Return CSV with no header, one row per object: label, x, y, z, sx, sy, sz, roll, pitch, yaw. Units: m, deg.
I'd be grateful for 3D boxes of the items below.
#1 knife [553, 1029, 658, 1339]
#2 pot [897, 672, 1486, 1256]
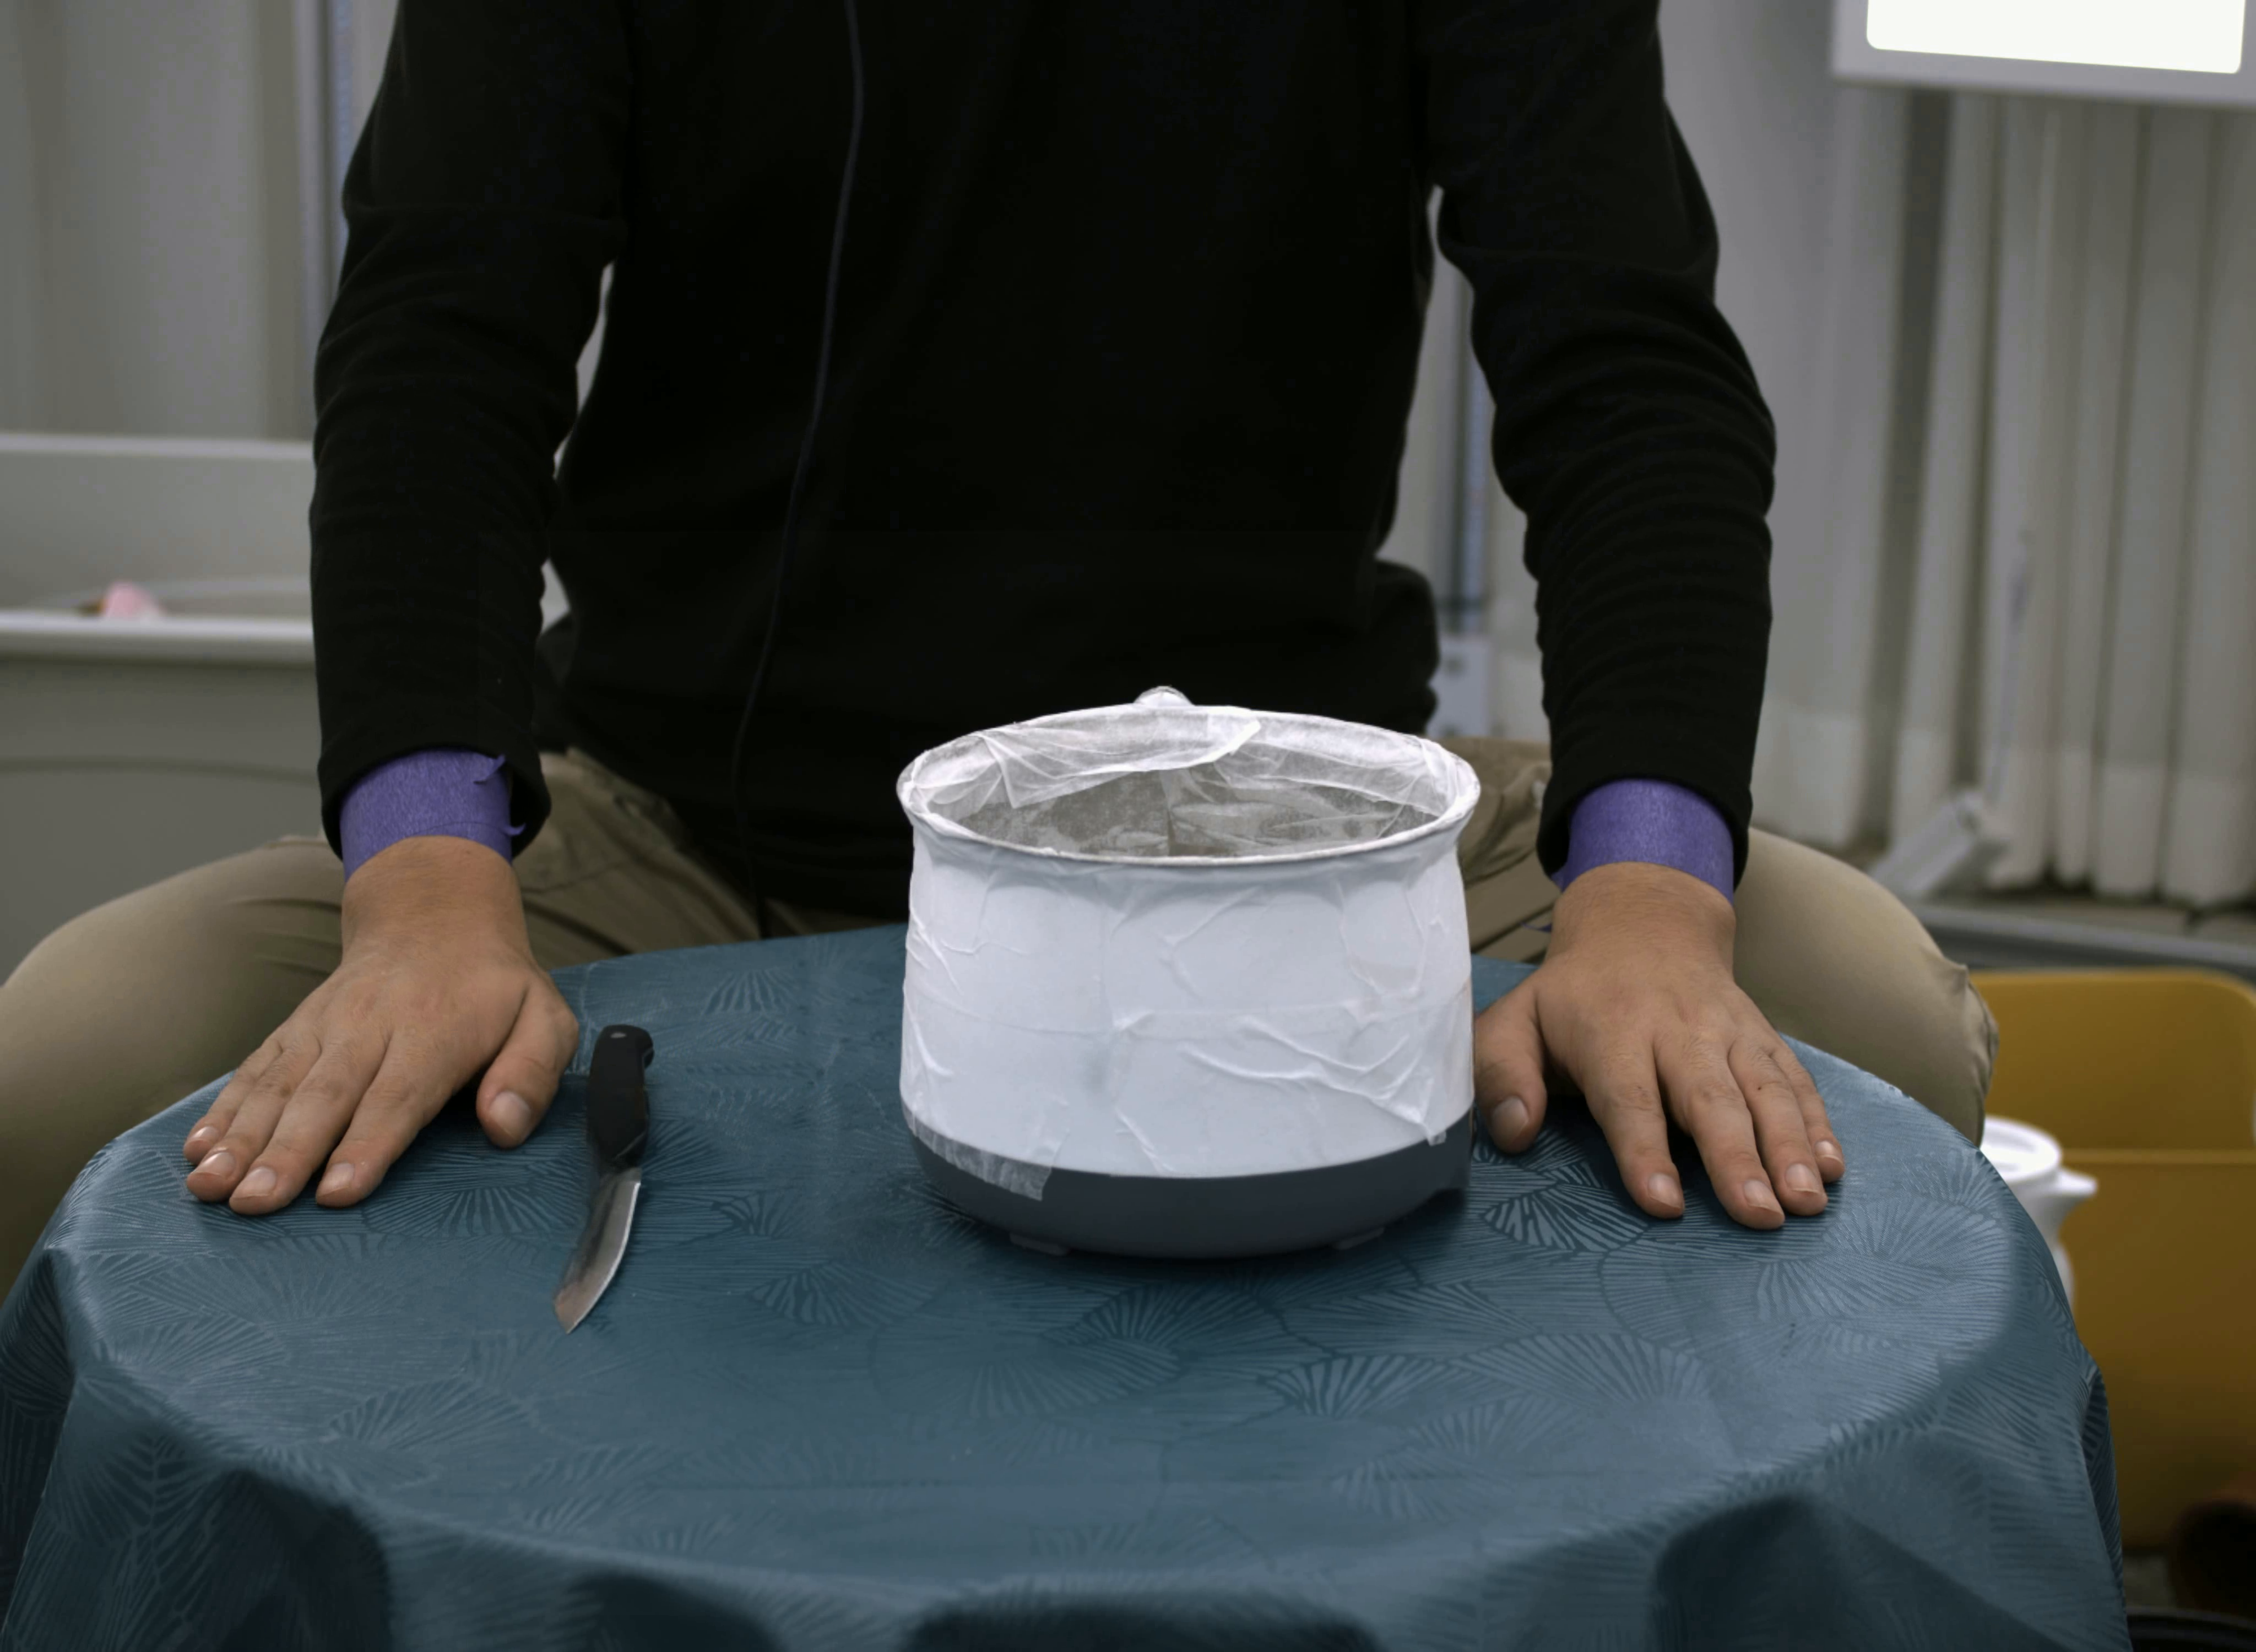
knife,-0.161,0.108,1.611,0.024,0.016,0.236,3,18,-2
pot,0.016,0.037,1.627,0.178,0.138,0.232,0,17,-6
